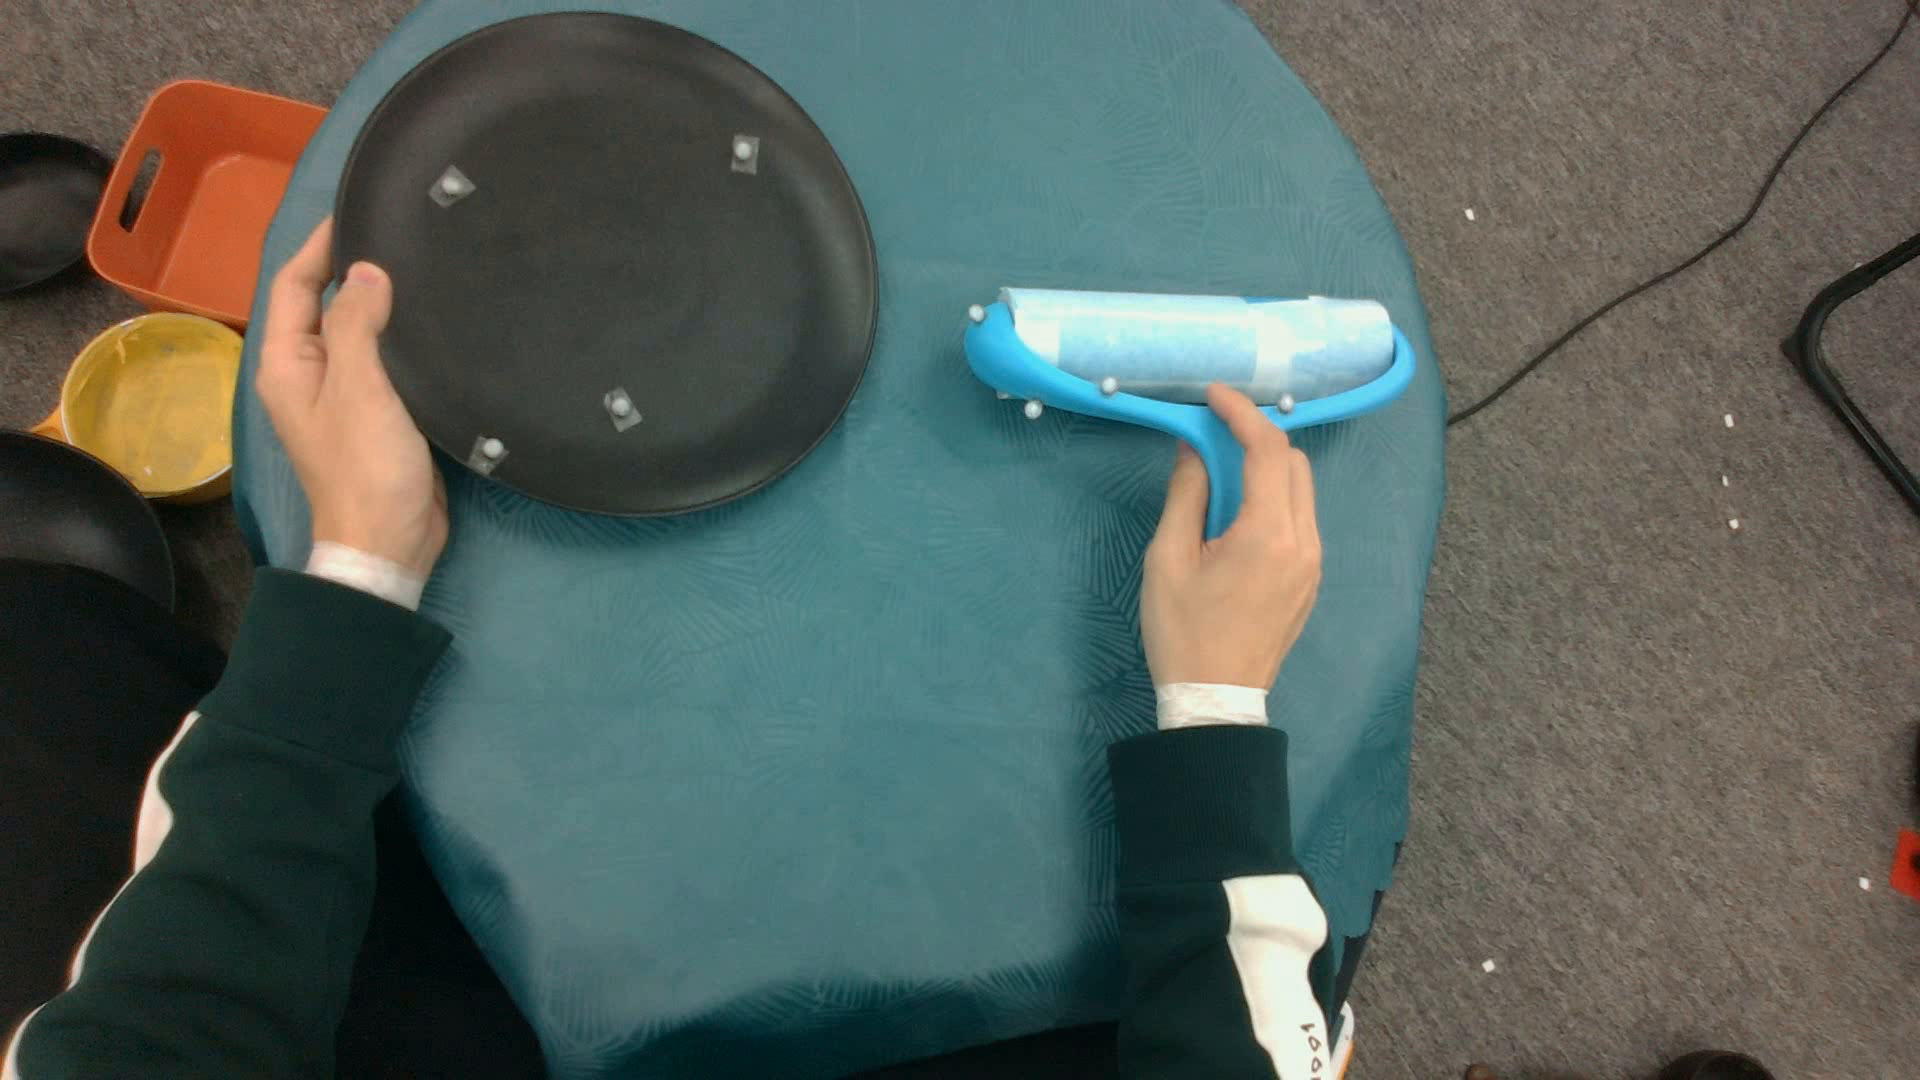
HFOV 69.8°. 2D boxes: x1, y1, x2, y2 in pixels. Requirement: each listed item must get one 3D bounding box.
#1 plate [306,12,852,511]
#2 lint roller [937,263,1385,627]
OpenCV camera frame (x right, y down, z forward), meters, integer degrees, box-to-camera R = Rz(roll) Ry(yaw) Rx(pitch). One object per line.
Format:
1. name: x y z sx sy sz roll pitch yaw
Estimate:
1. plate: -0.171 -0.130 0.643 0.245 0.023 0.245 5 76 -20
2. lint roller: 0.110 -0.053 0.668 0.229 0.067 0.180 -5 73 -15
